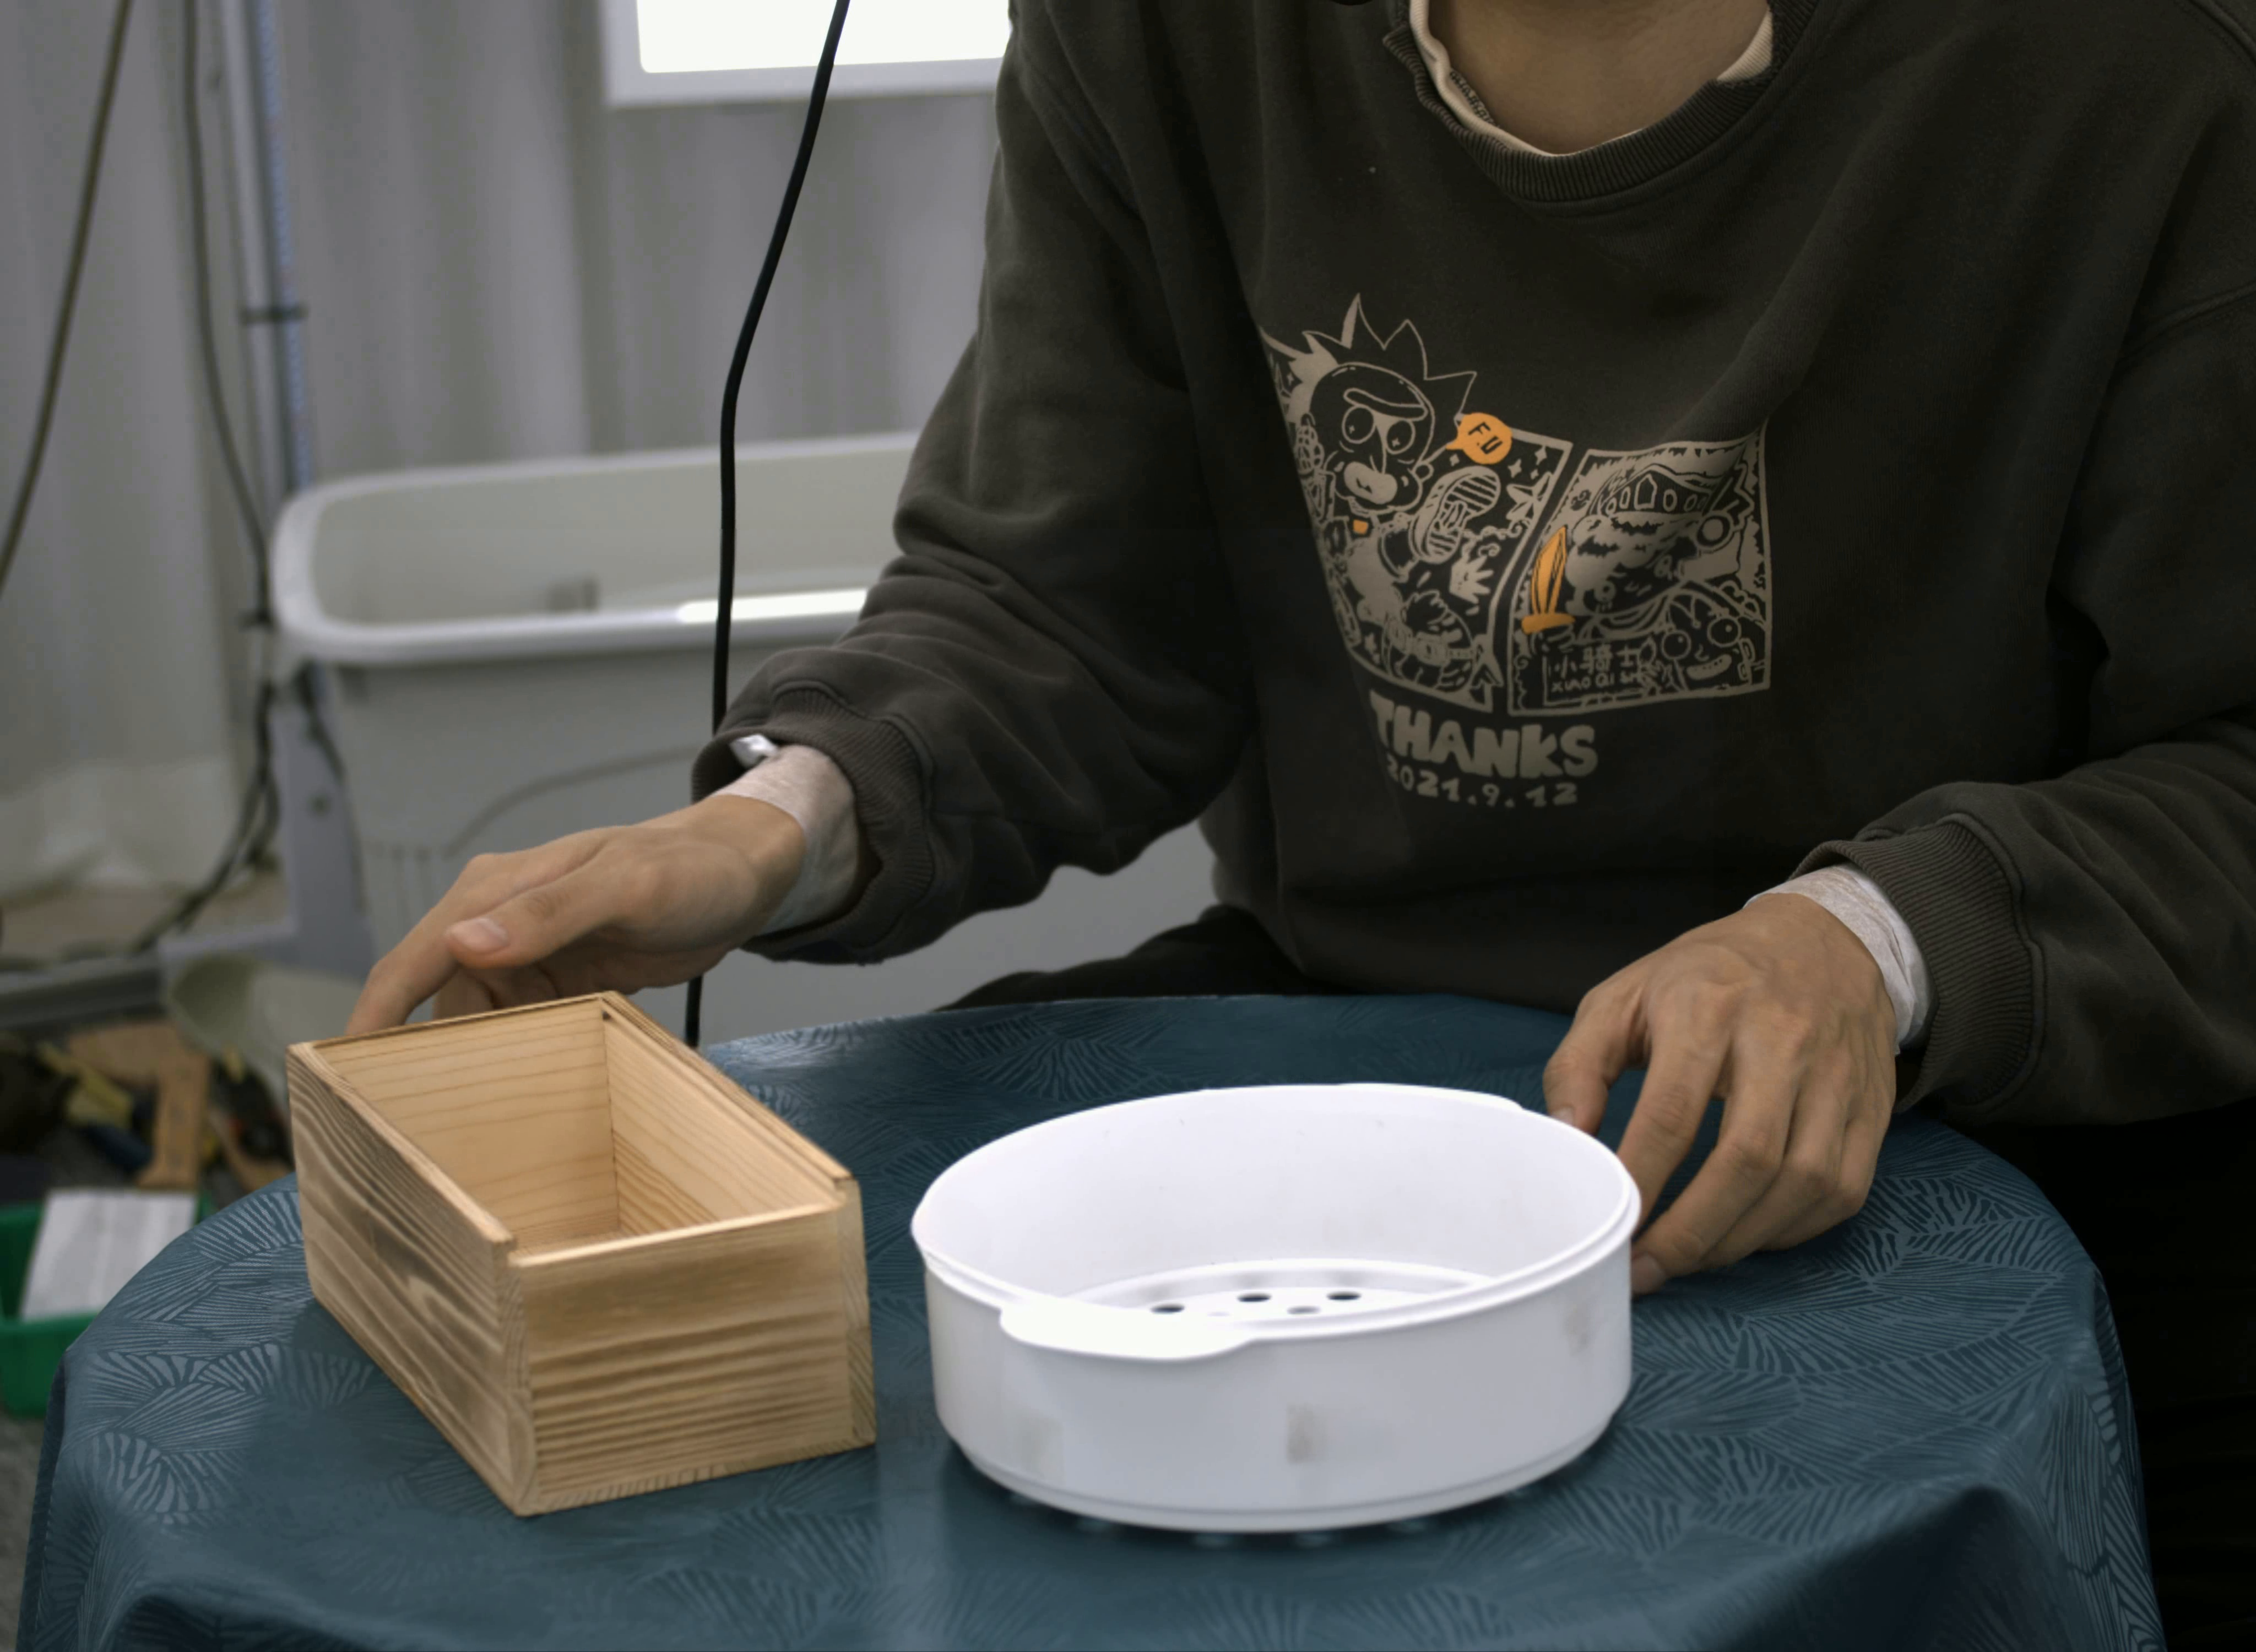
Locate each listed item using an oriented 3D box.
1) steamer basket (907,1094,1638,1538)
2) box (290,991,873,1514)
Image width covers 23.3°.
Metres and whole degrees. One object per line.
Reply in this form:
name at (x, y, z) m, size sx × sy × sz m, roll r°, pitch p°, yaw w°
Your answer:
steamer basket at (0.040, 0.135, 1.510) m, size 0.202 × 0.069 × 0.231 m, roll 5°, pitch 16°, yaw 26°
box at (-0.162, 0.119, 1.585) m, size 0.107 × 0.080 × 0.213 m, roll -9°, pitch 16°, yaw -22°
